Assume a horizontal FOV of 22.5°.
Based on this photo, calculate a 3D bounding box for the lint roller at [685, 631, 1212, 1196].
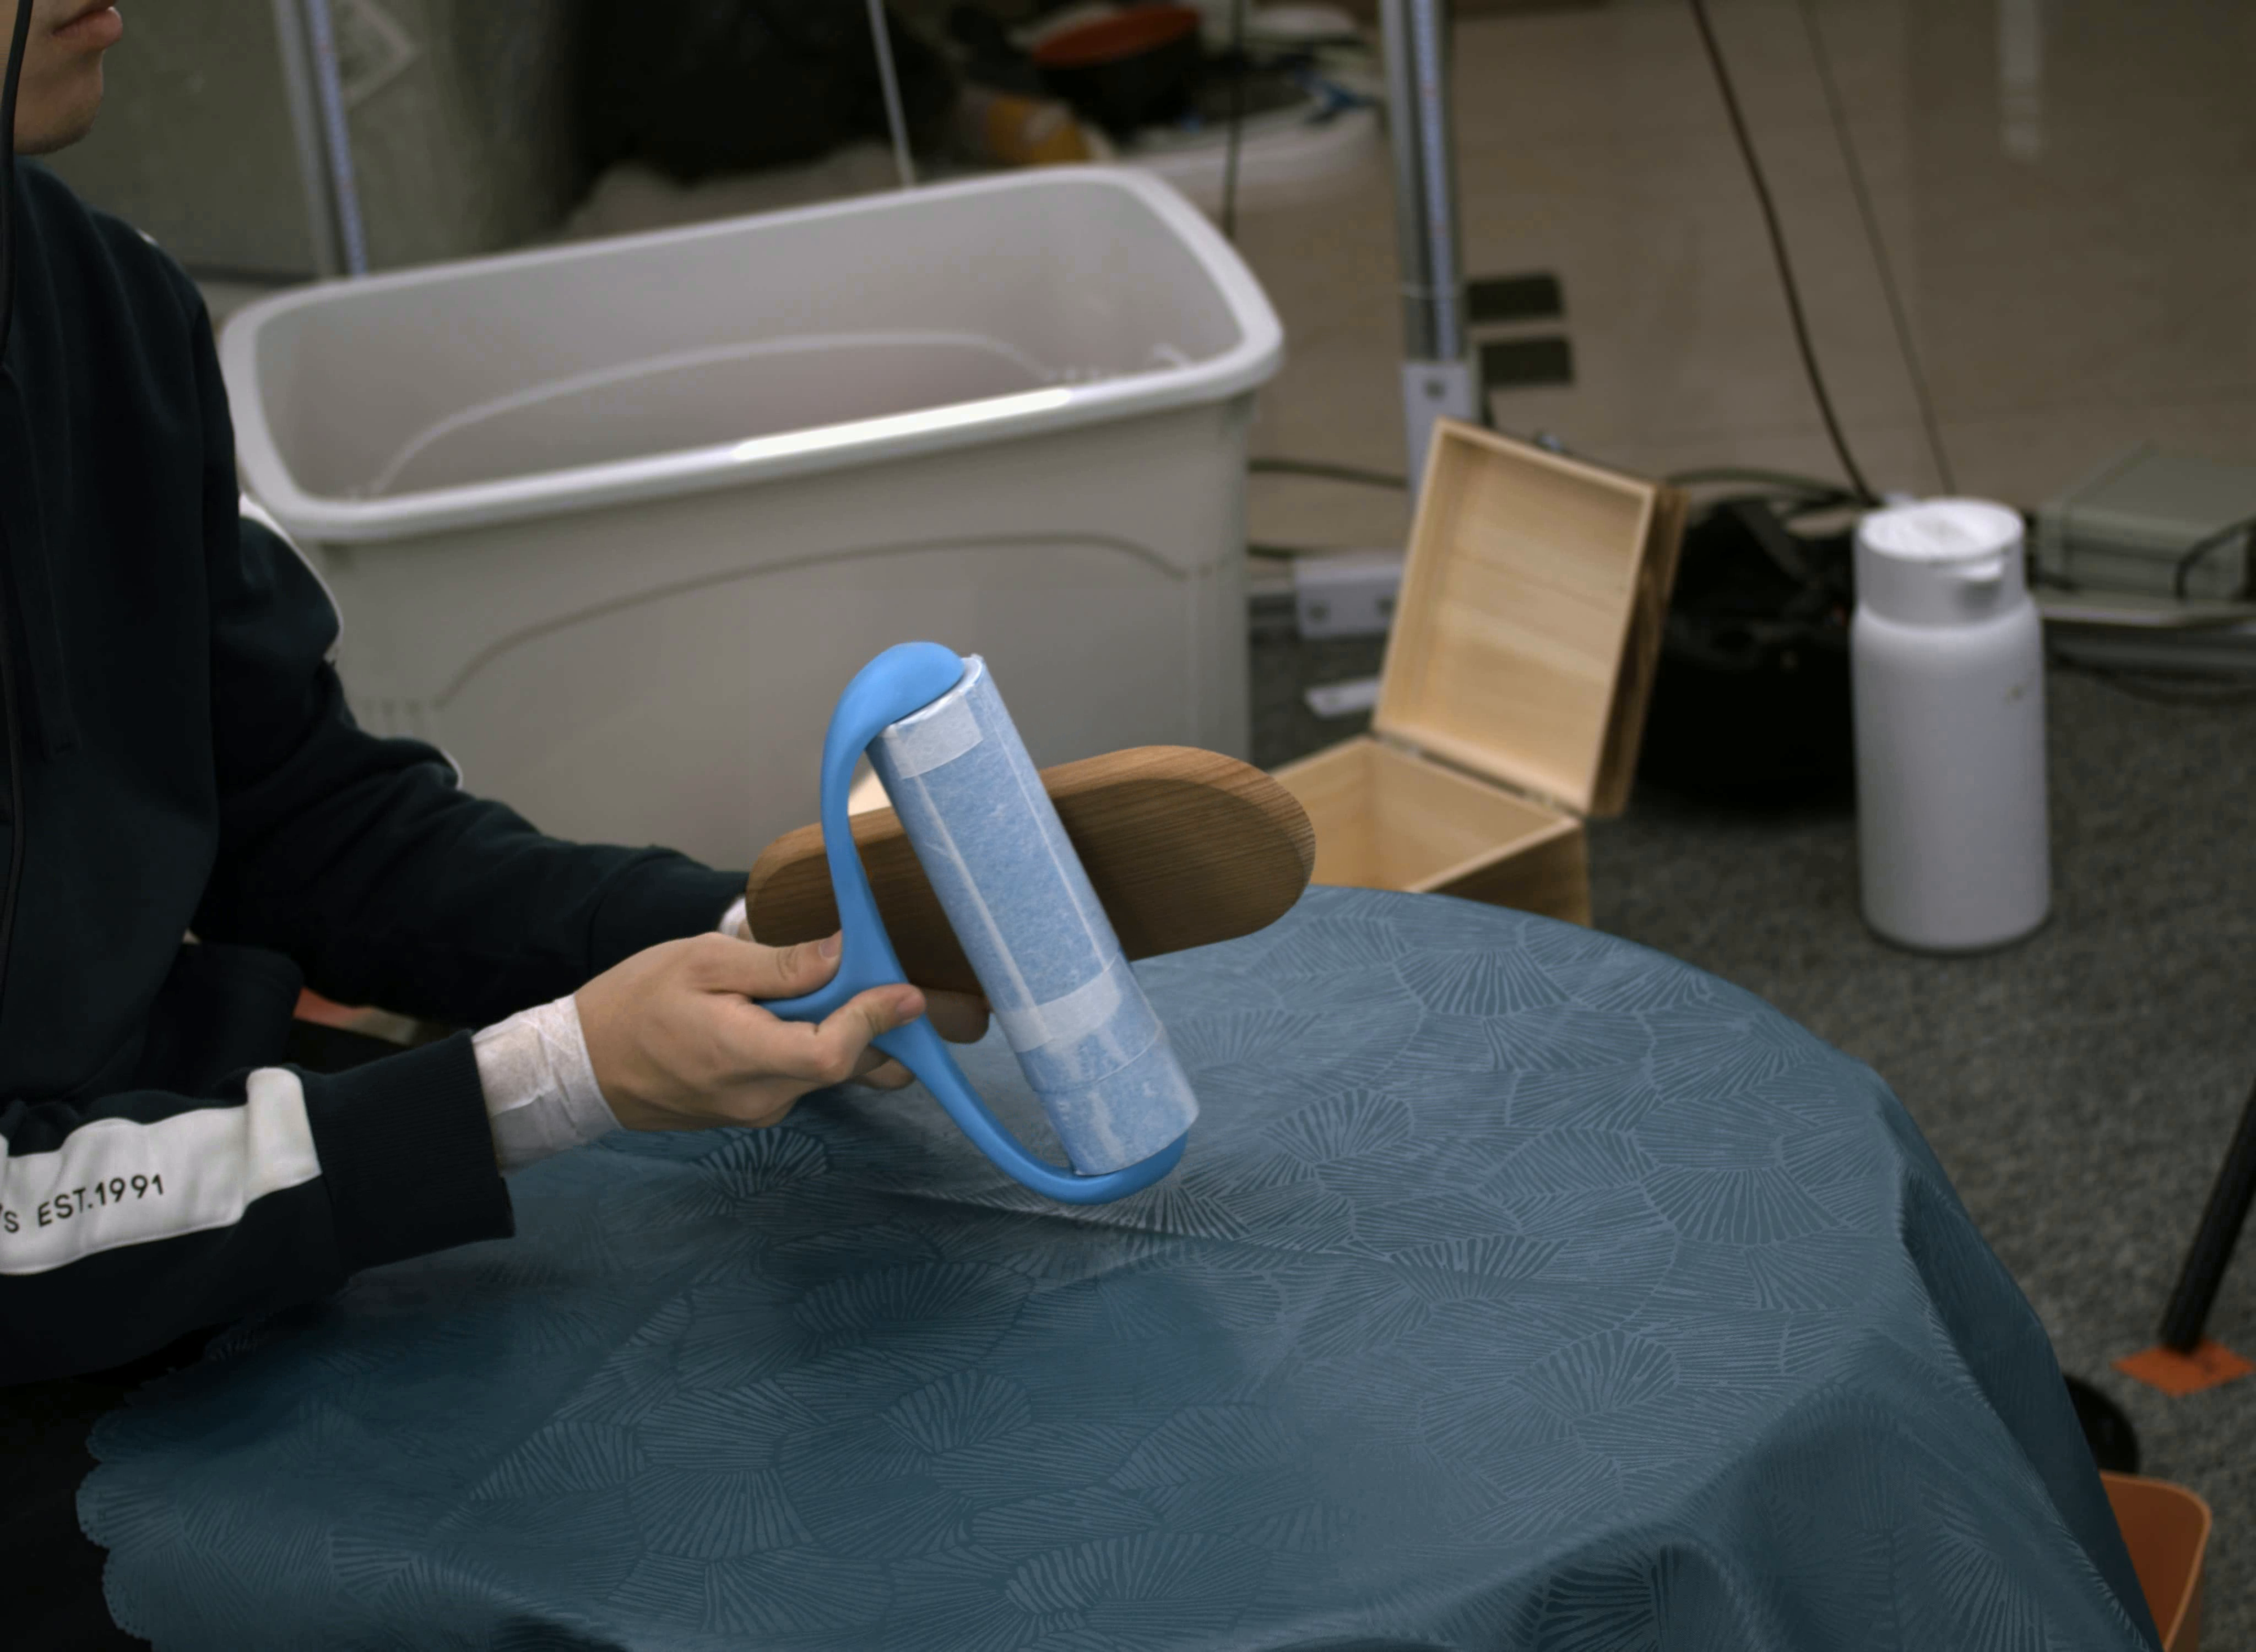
[{"bbox_3d":[-0.086,0.054,2.084,0.181,0.231,0.067,-23,21,17],"label":"lint roller"}]

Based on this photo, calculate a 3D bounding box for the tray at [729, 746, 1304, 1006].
[{"bbox_3d":[-0.044,0.022,2.124,0.231,0.103,0.020,-14,44,23],"label":"tray"}]
